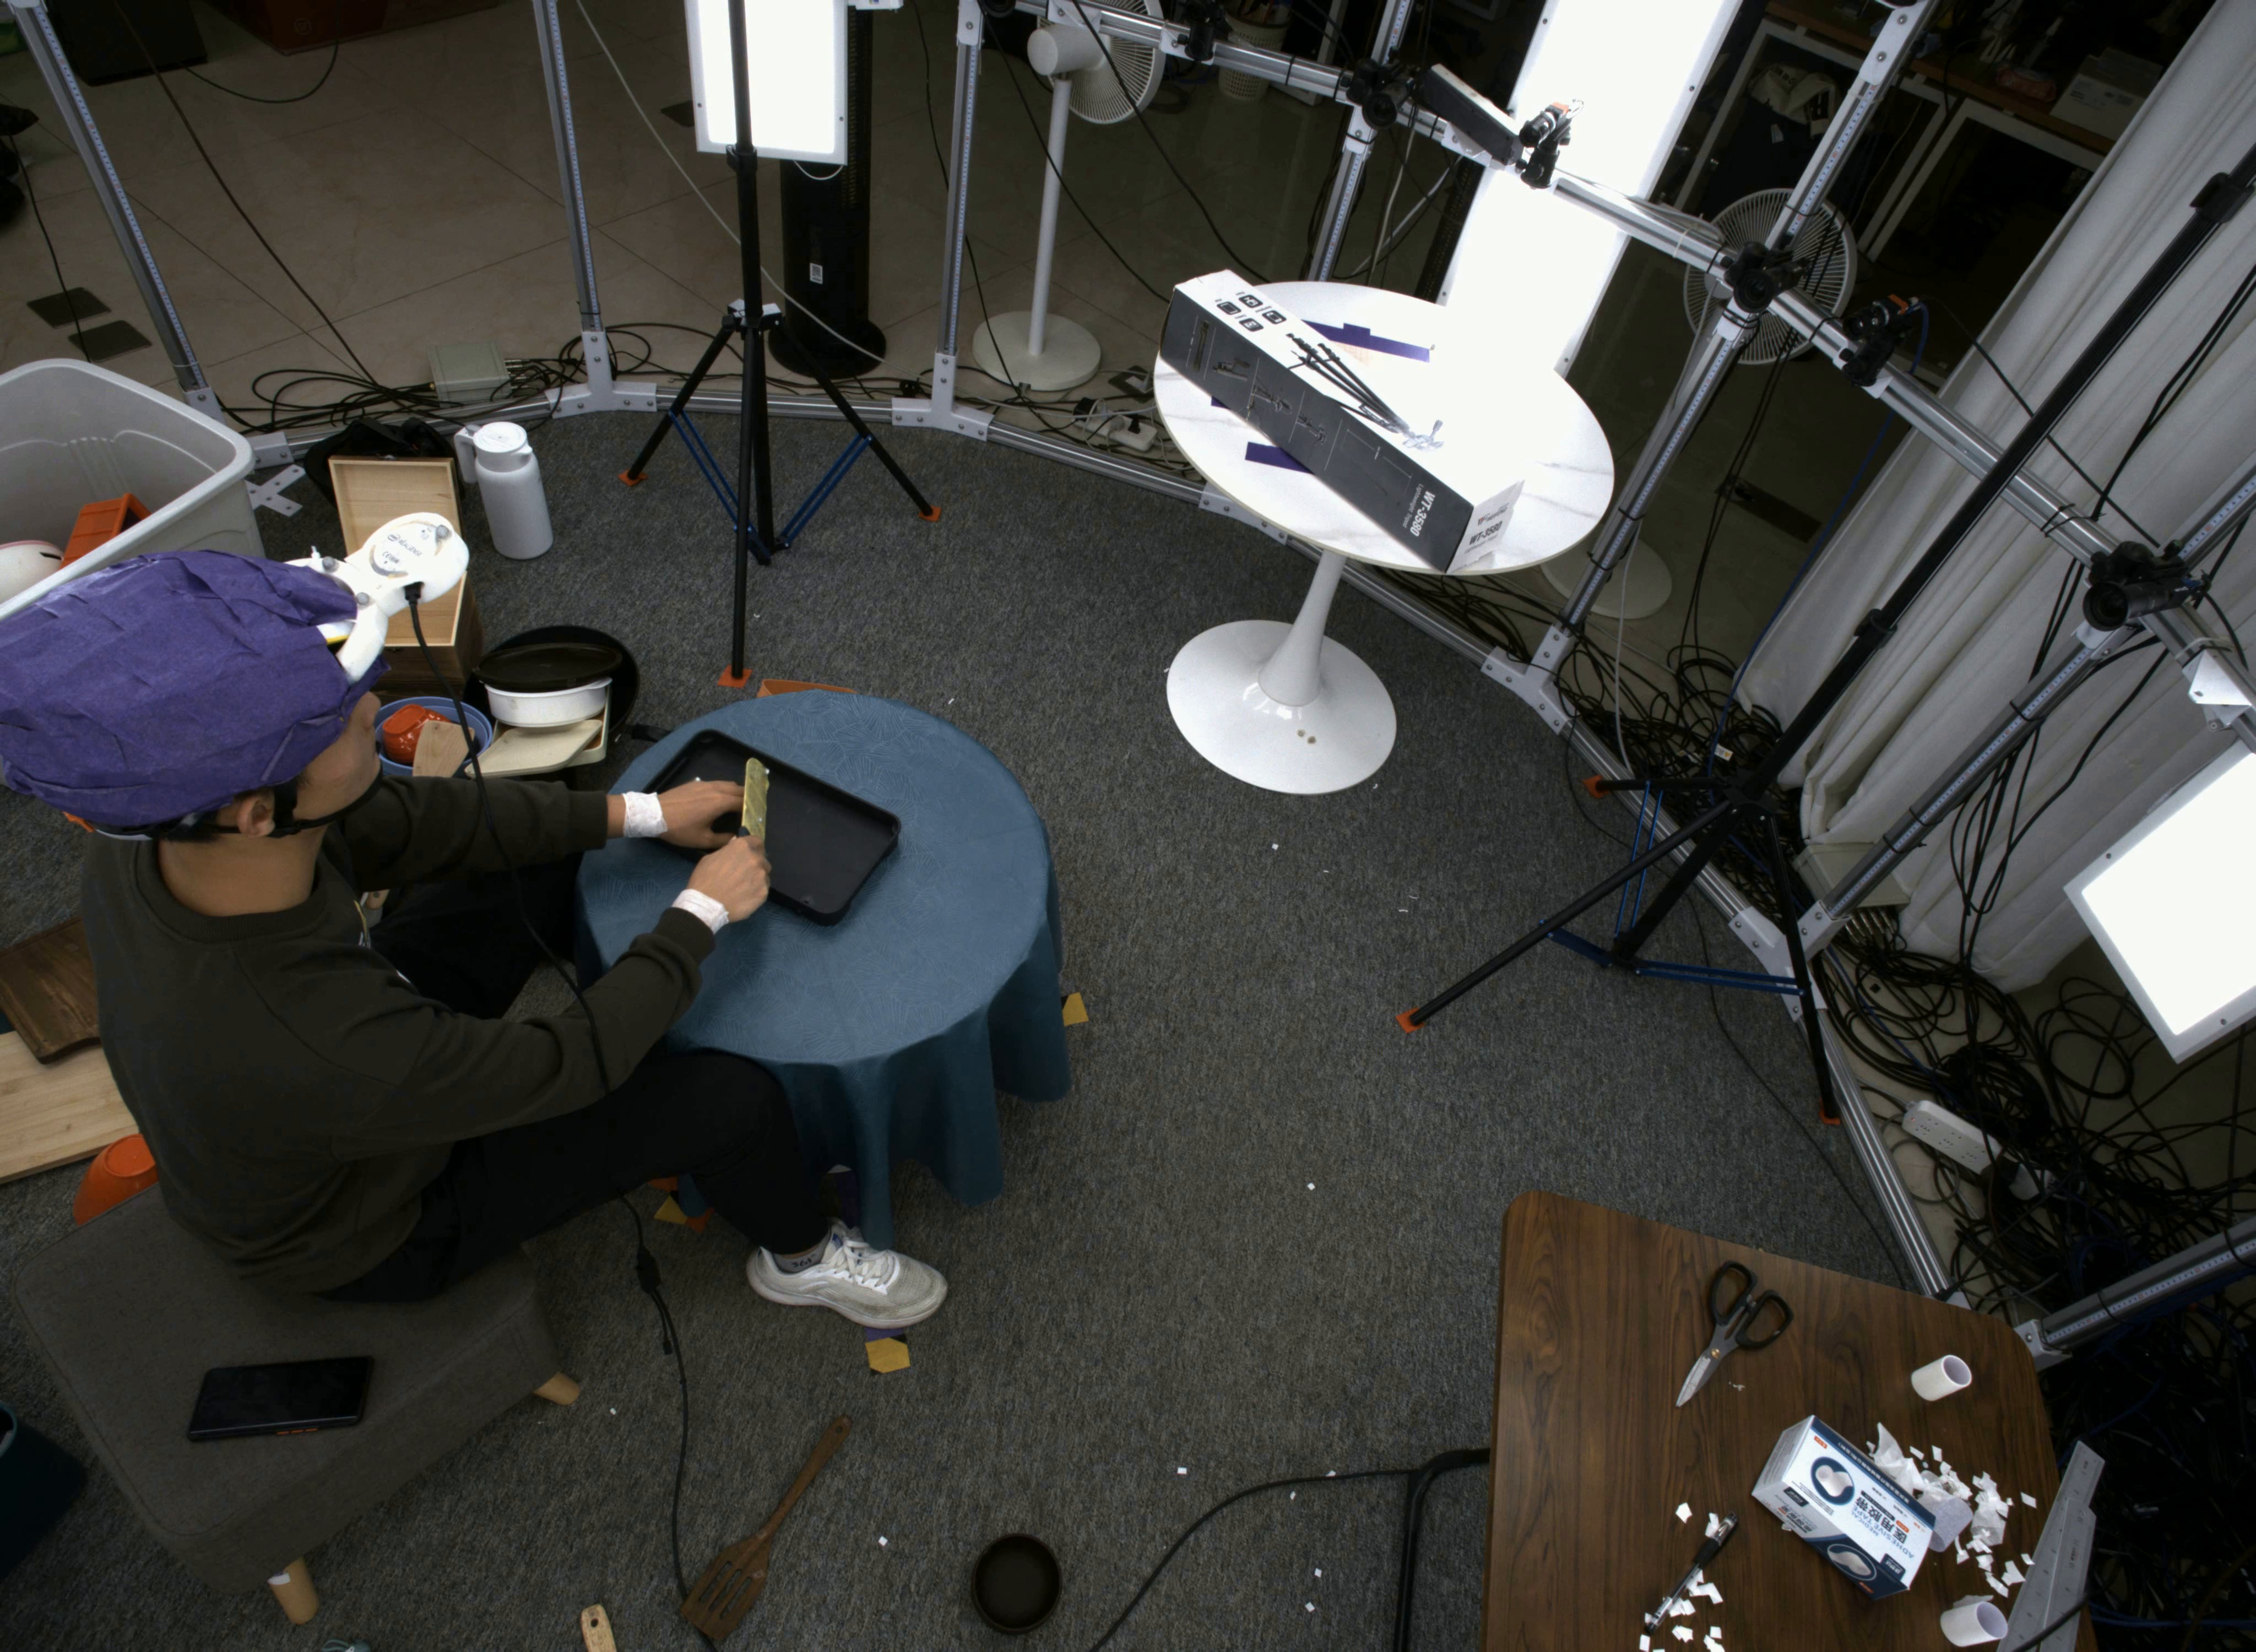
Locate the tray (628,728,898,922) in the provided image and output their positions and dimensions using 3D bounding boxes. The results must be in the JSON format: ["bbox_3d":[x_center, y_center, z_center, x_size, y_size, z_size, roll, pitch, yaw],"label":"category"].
[{"bbox_3d":[-0.478,-0.005,1.701,0.314,0.038,0.183,24,52,4],"label":"tray"}]

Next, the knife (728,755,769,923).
[{"bbox_3d":[-0.479,0.014,1.650,0.027,0.084,0.282,-12,47,5],"label":"knife"}]
